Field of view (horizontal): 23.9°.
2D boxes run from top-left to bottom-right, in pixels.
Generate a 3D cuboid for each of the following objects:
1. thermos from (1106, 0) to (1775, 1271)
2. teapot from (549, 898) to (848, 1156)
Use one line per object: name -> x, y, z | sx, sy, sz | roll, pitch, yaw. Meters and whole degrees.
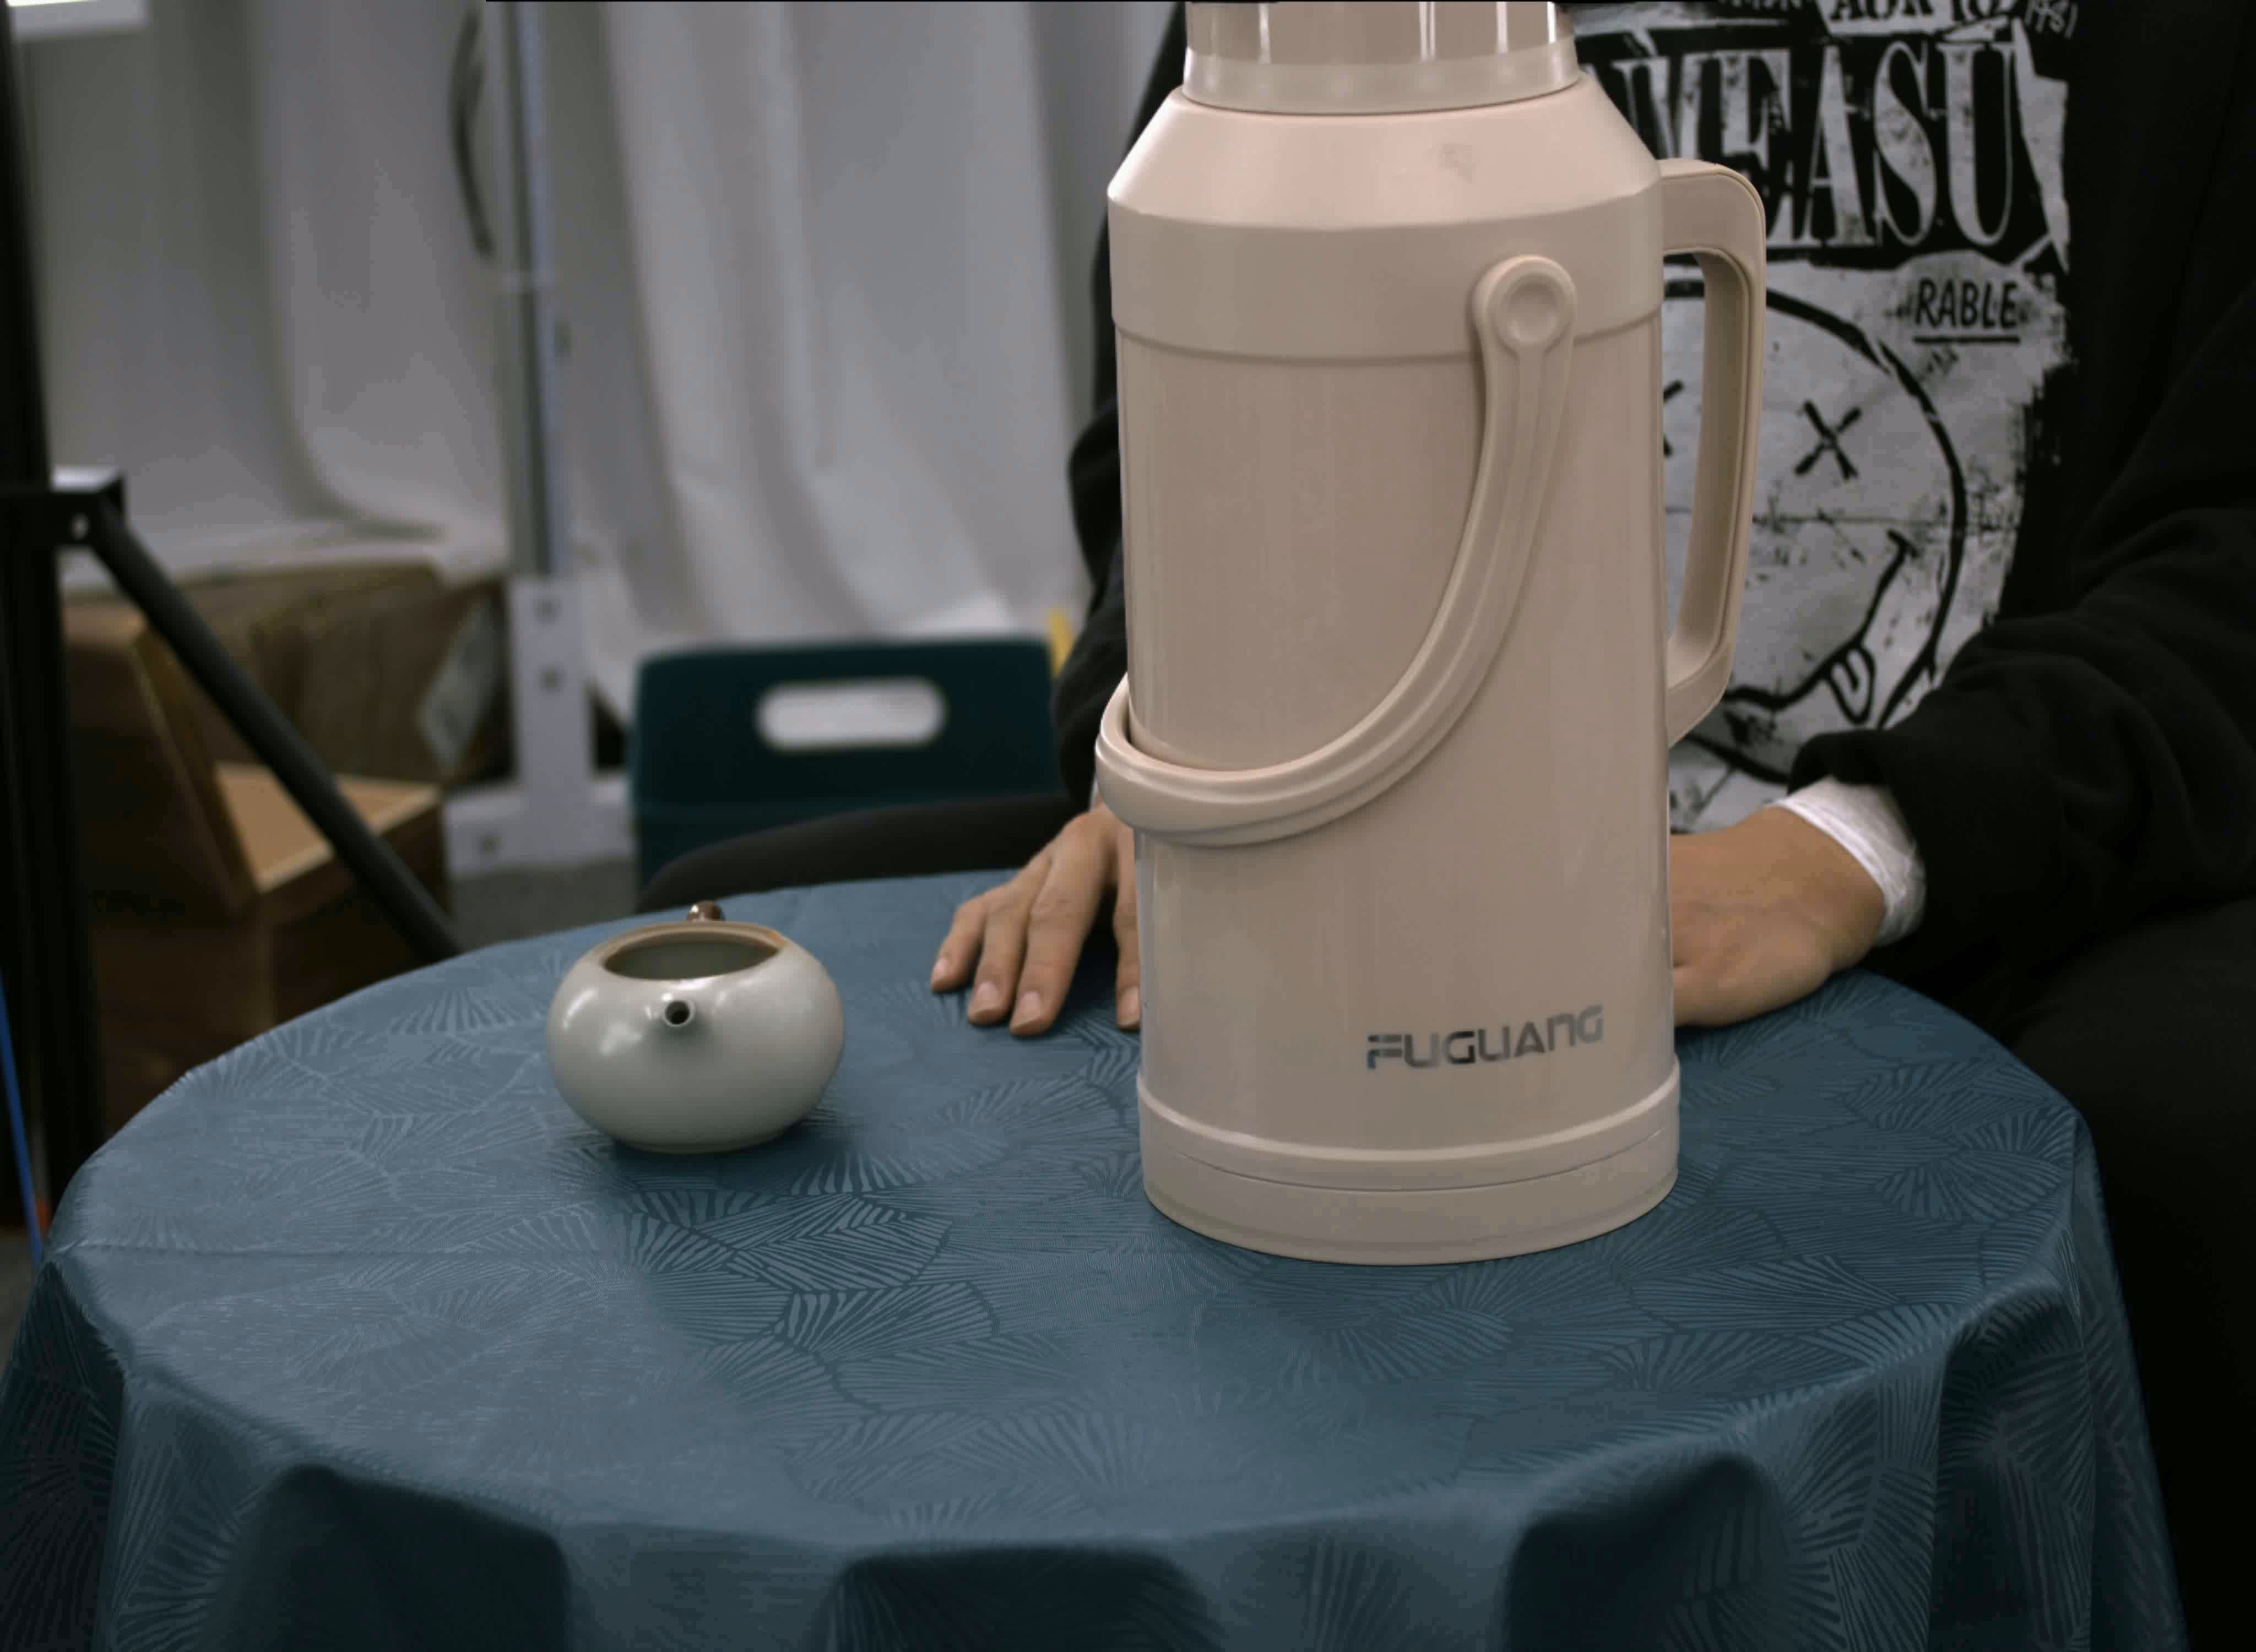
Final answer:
thermos -> 0.092, -0.089, 1.512 | 0.203, 0.406, 0.179 | -9, 15, -22
teapot -> -0.131, 0.061, 1.634 | 0.091, 0.059, 0.129 | -5, 17, 0
